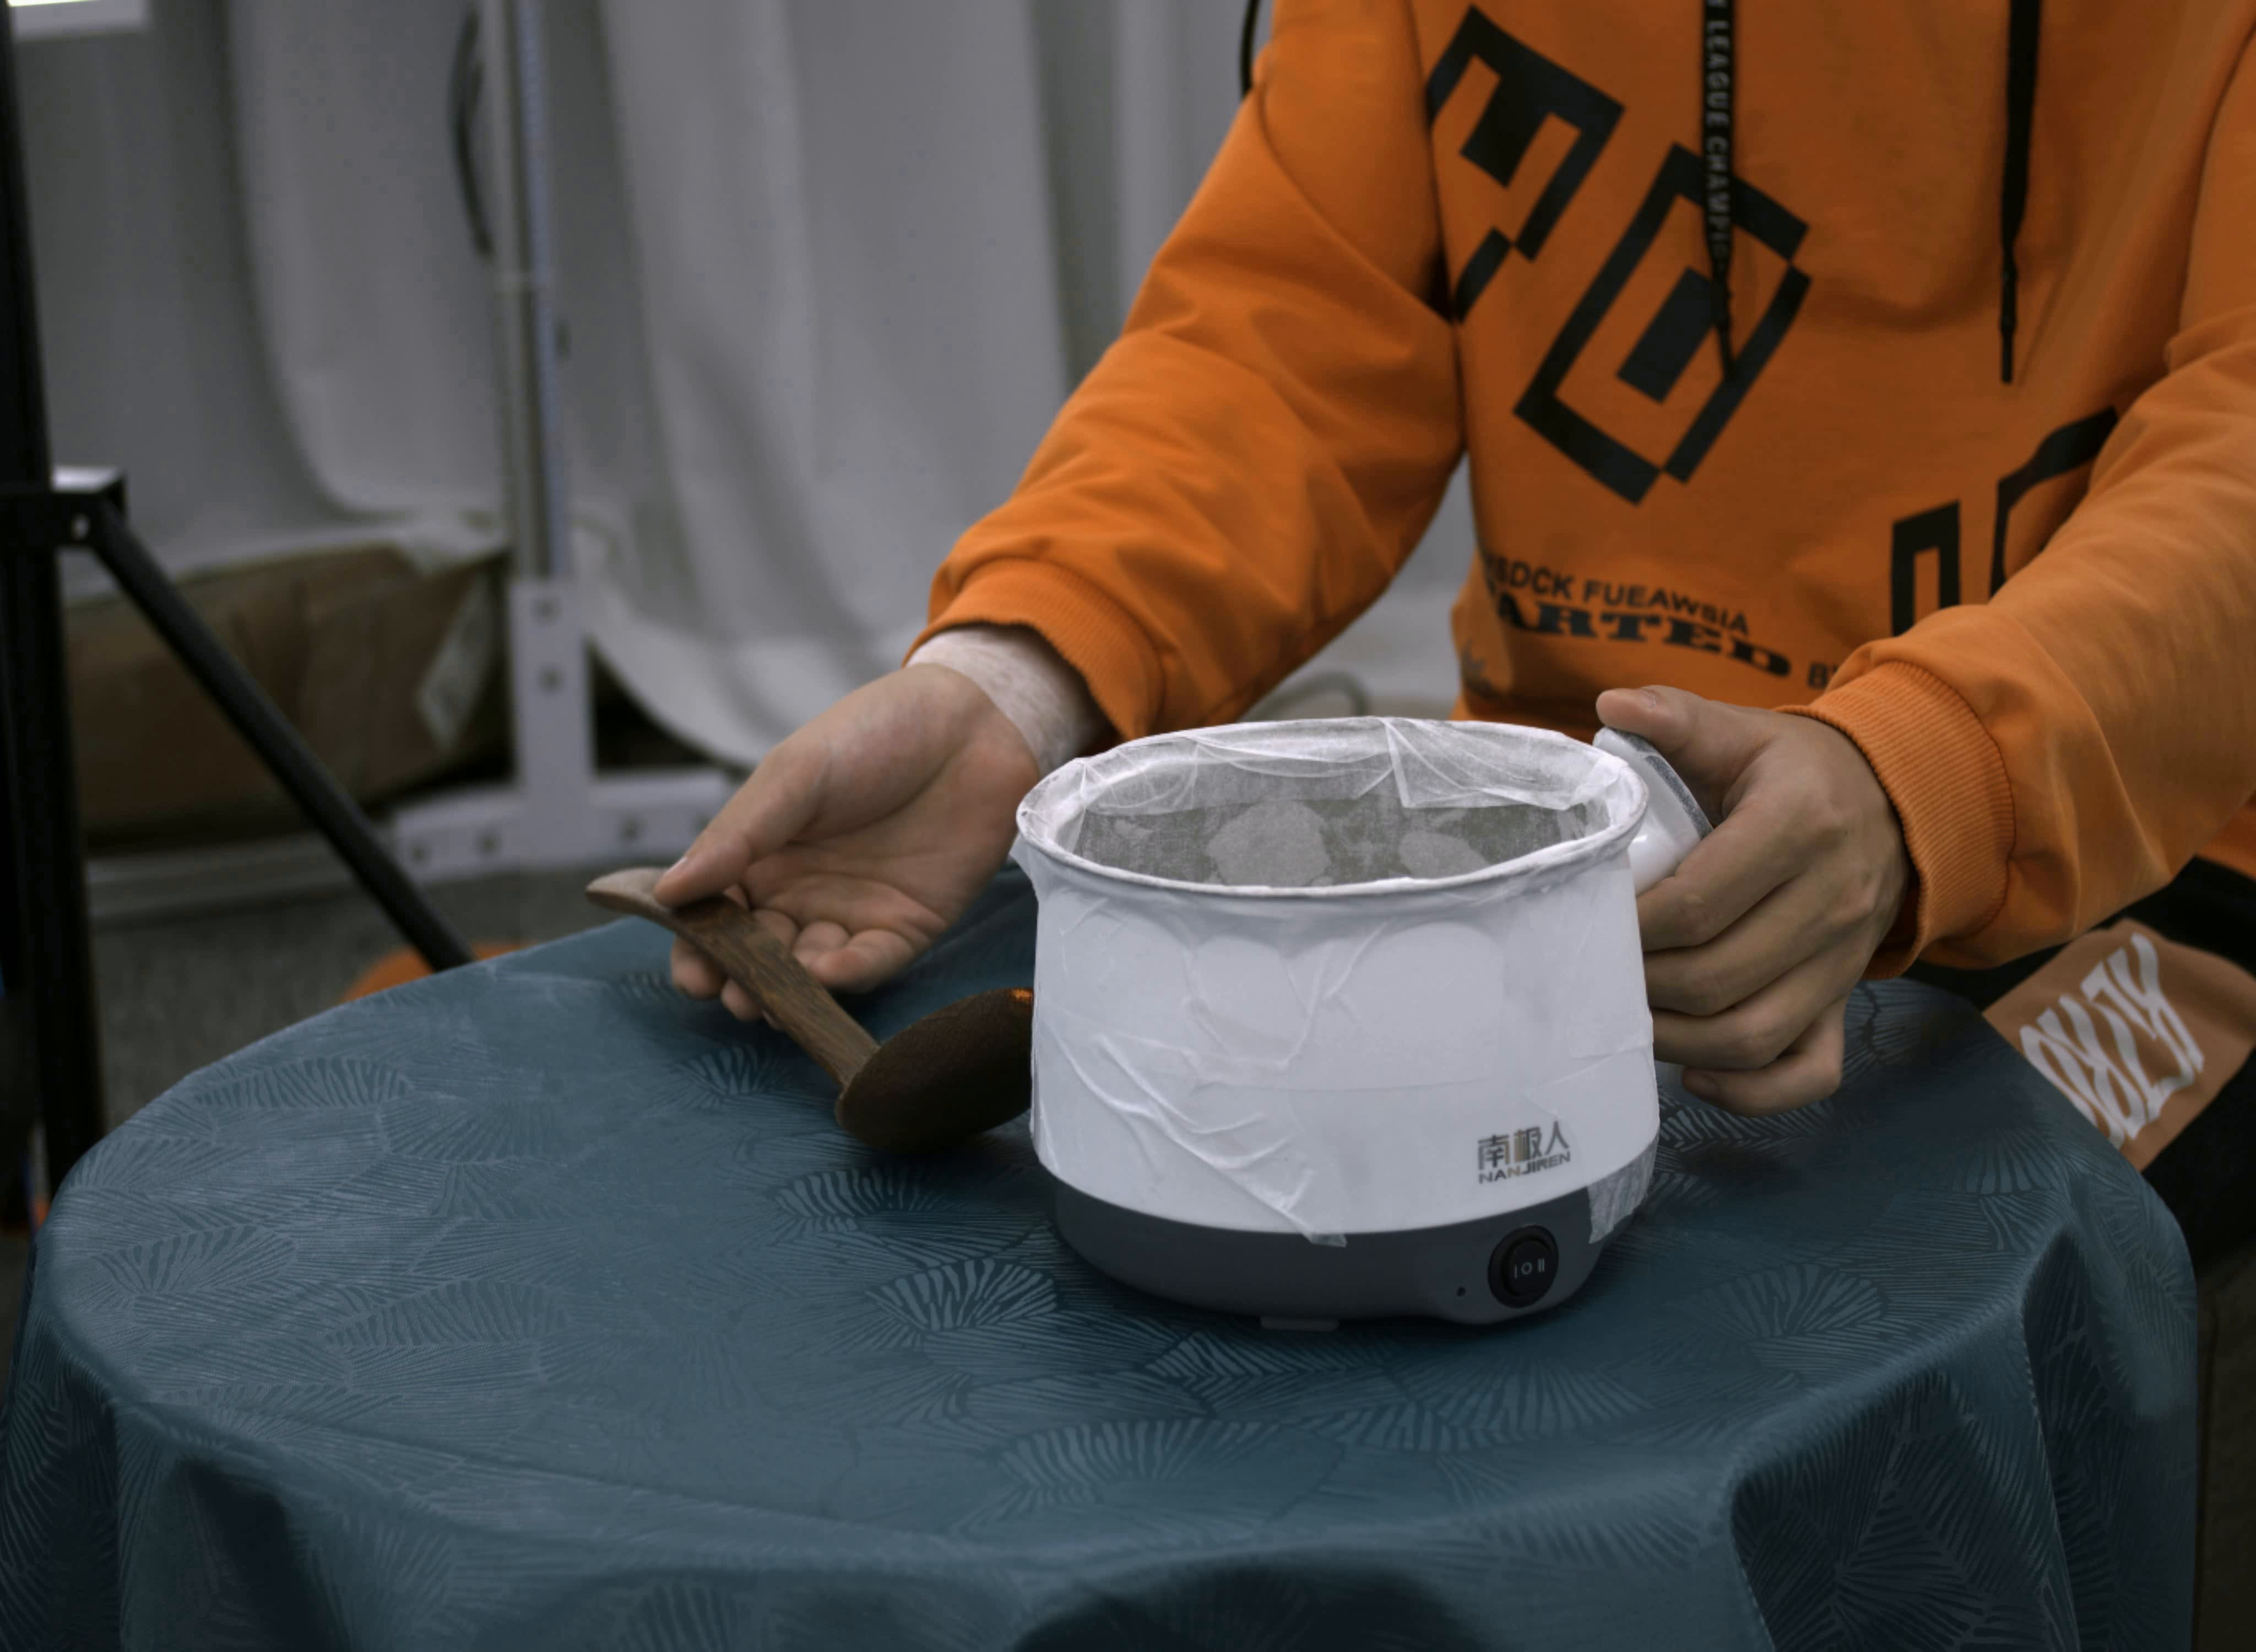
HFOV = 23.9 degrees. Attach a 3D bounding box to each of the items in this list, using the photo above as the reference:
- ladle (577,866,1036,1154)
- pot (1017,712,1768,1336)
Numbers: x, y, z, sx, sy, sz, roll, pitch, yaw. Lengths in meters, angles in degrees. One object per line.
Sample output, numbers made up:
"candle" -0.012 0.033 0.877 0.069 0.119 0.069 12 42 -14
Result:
"ladle" -0.108 0.036 1.671 0.074 0.071 0.280 -13 26 -26
"pot" 0.082 0.048 1.502 0.228 0.136 0.183 -12 19 -30
